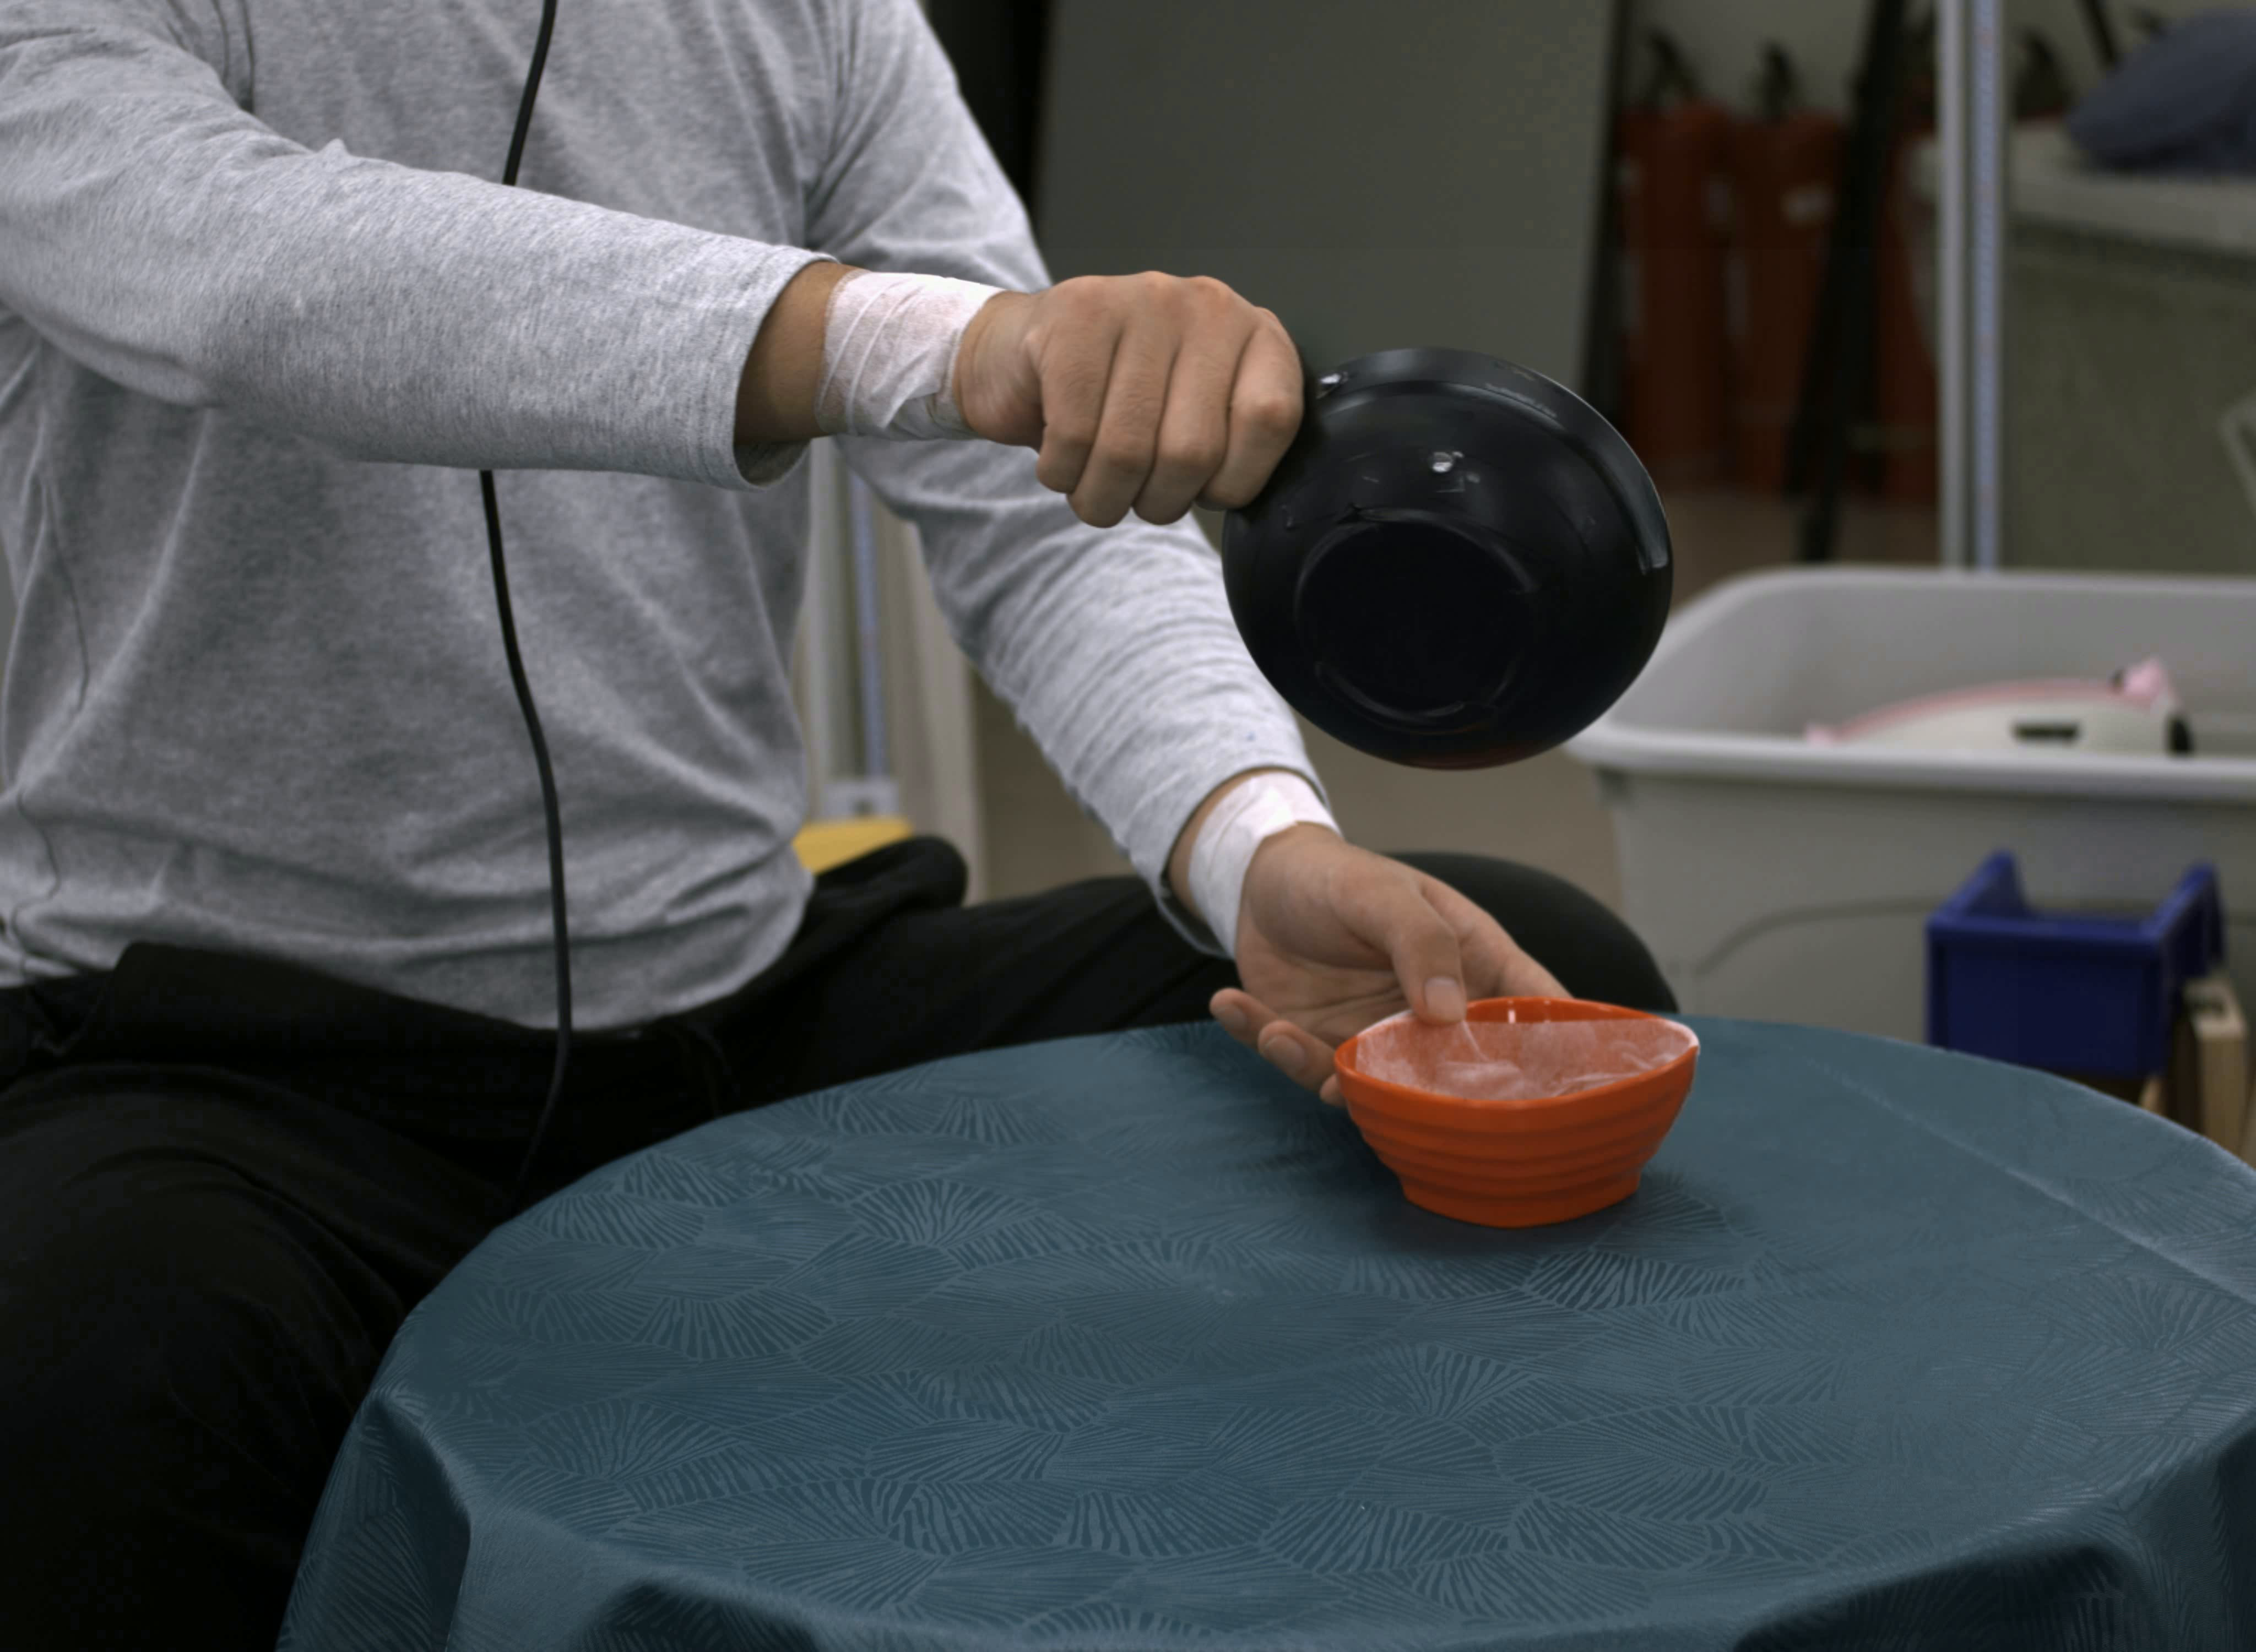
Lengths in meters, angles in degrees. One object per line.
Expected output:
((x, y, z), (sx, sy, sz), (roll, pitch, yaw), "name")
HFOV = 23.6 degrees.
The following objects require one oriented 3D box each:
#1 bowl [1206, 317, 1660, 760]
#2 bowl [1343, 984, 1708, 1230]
((0.086, -0.076, 1.591), (0.139, 0.141, 0.049), (0, 26, 15), "bowl")
((0.129, 0.093, 1.738), (0.117, 0.052, 0.119), (-4, 16, 0), "bowl")
